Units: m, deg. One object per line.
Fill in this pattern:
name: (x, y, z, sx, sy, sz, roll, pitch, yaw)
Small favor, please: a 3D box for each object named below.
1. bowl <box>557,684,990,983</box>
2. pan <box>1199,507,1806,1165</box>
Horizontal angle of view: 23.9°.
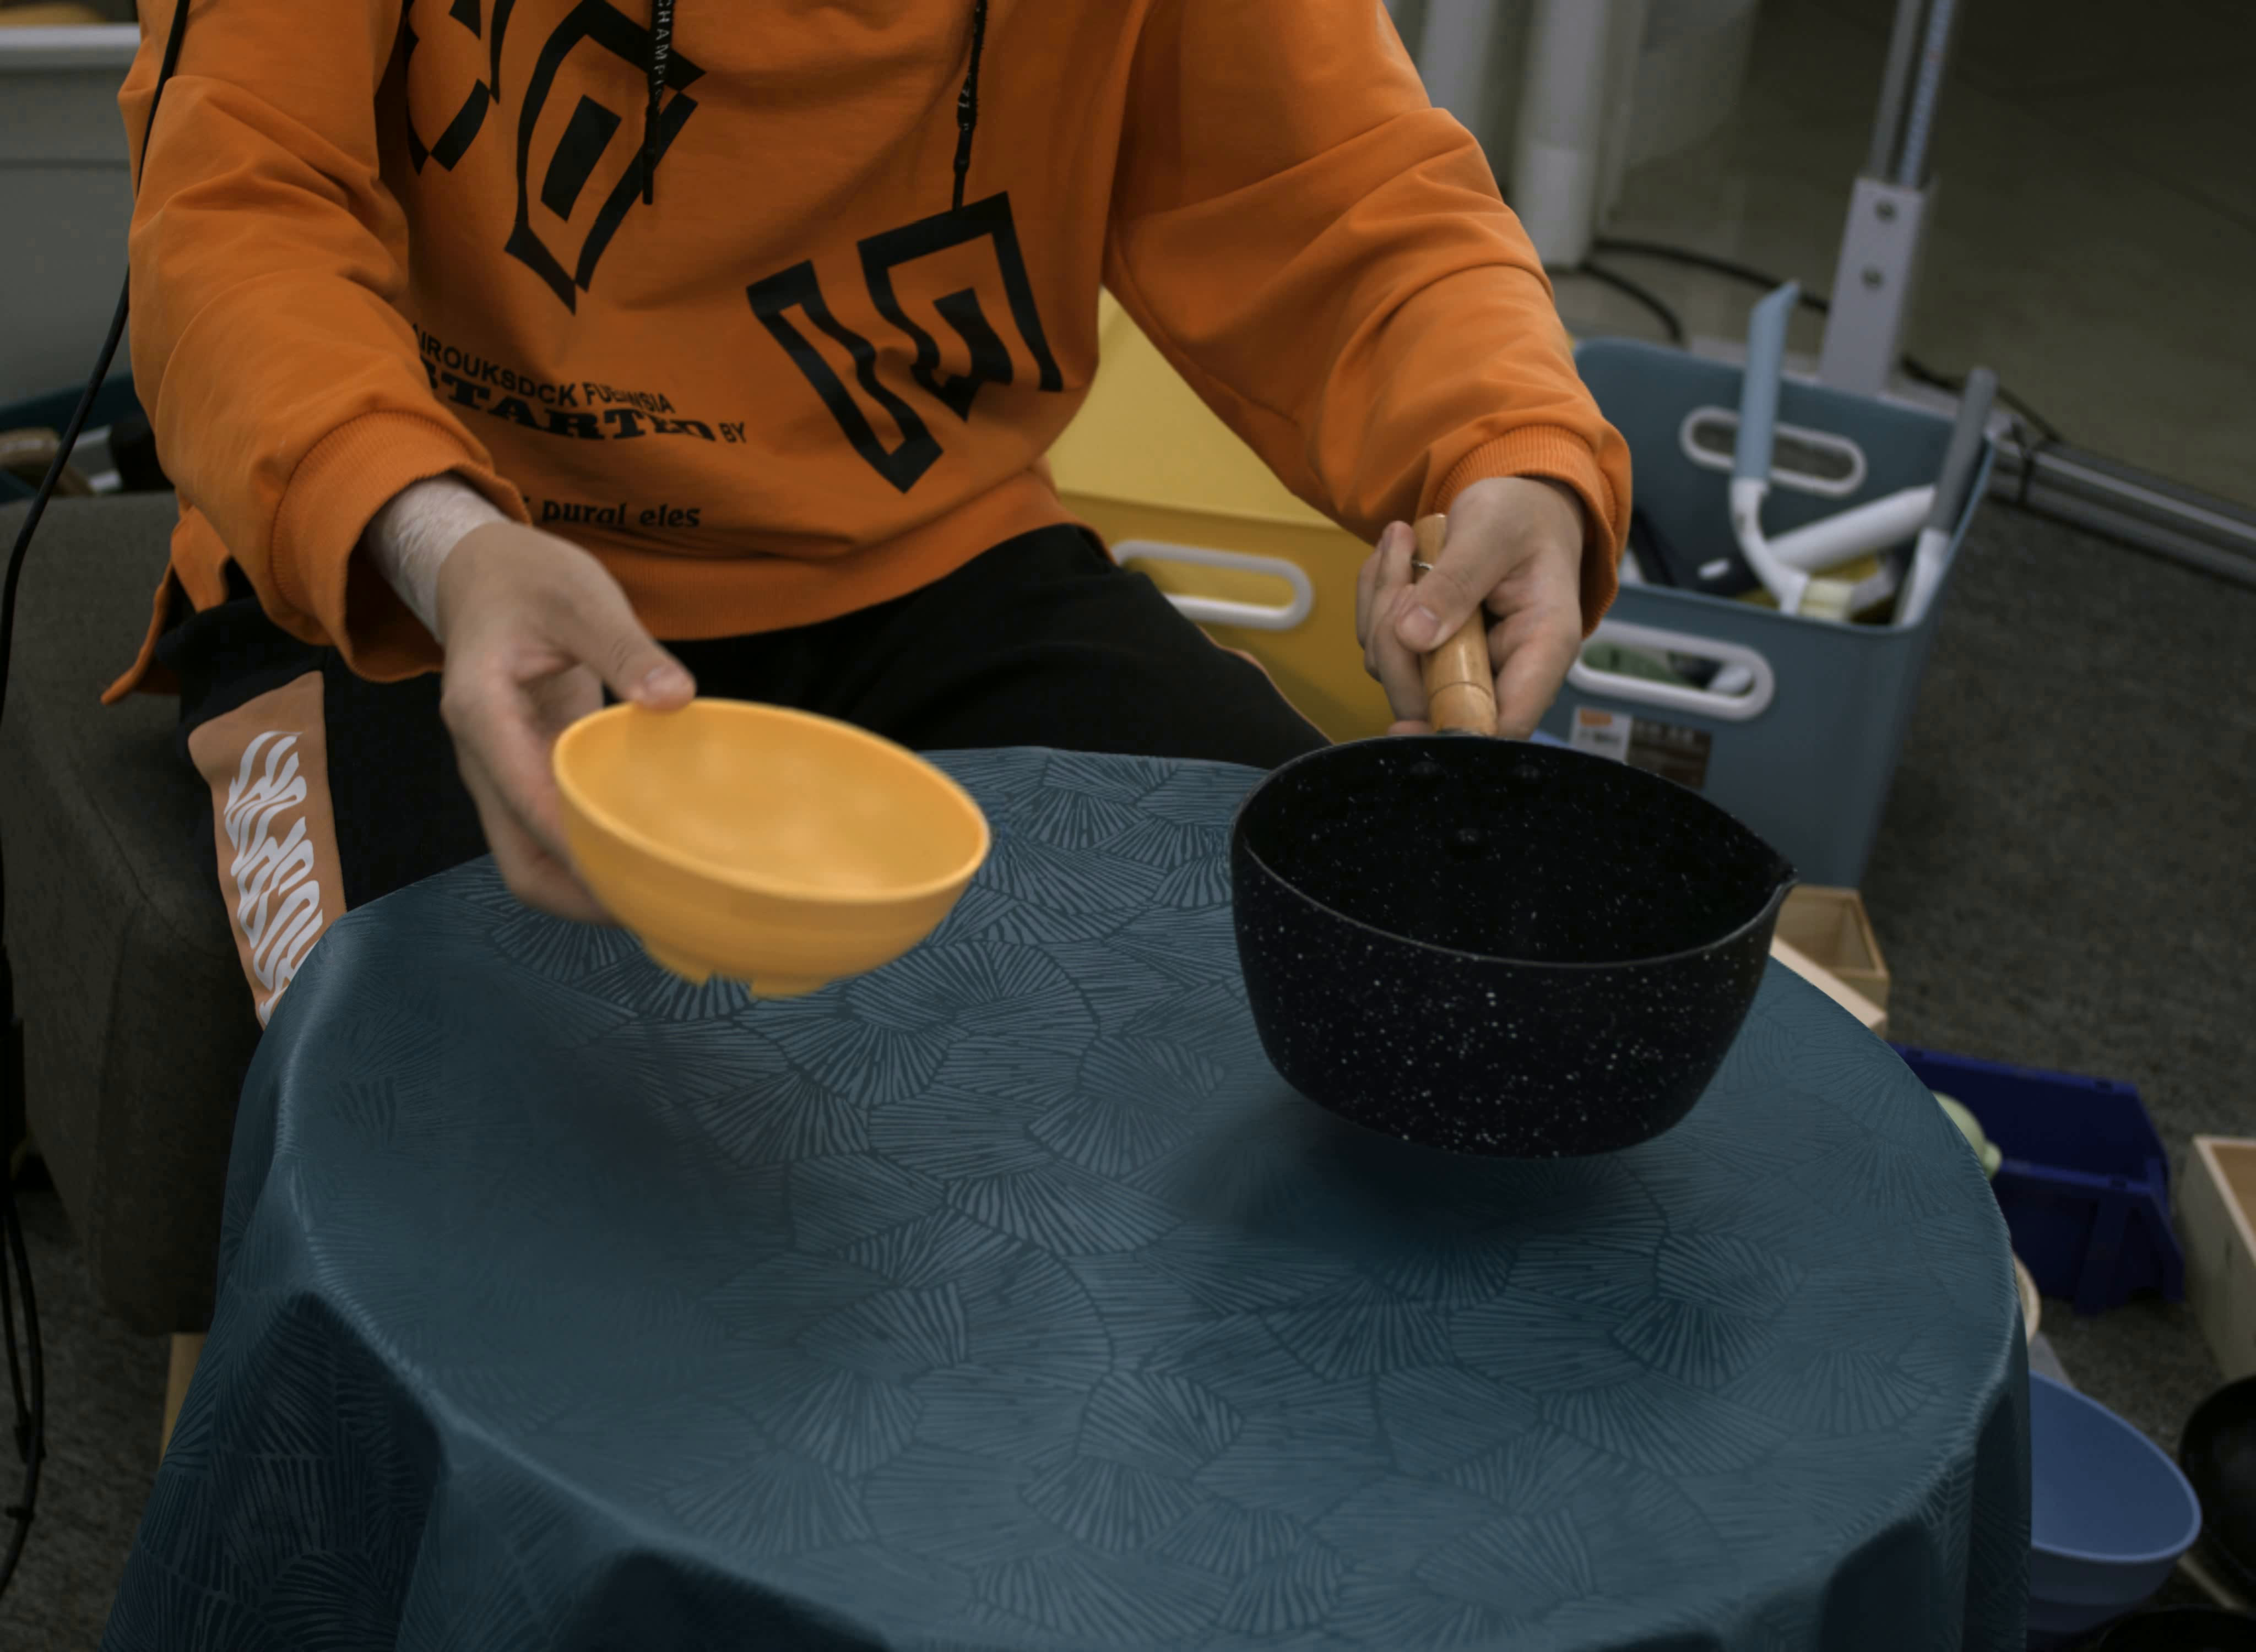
bowl: (-0.121, 0.010, 1.742, 0.145, 0.060, 0.146, 13, 22, -5)
pan: (0.120, 0.000, 1.888, 0.206, 0.108, 0.345, 2, 26, -5)
